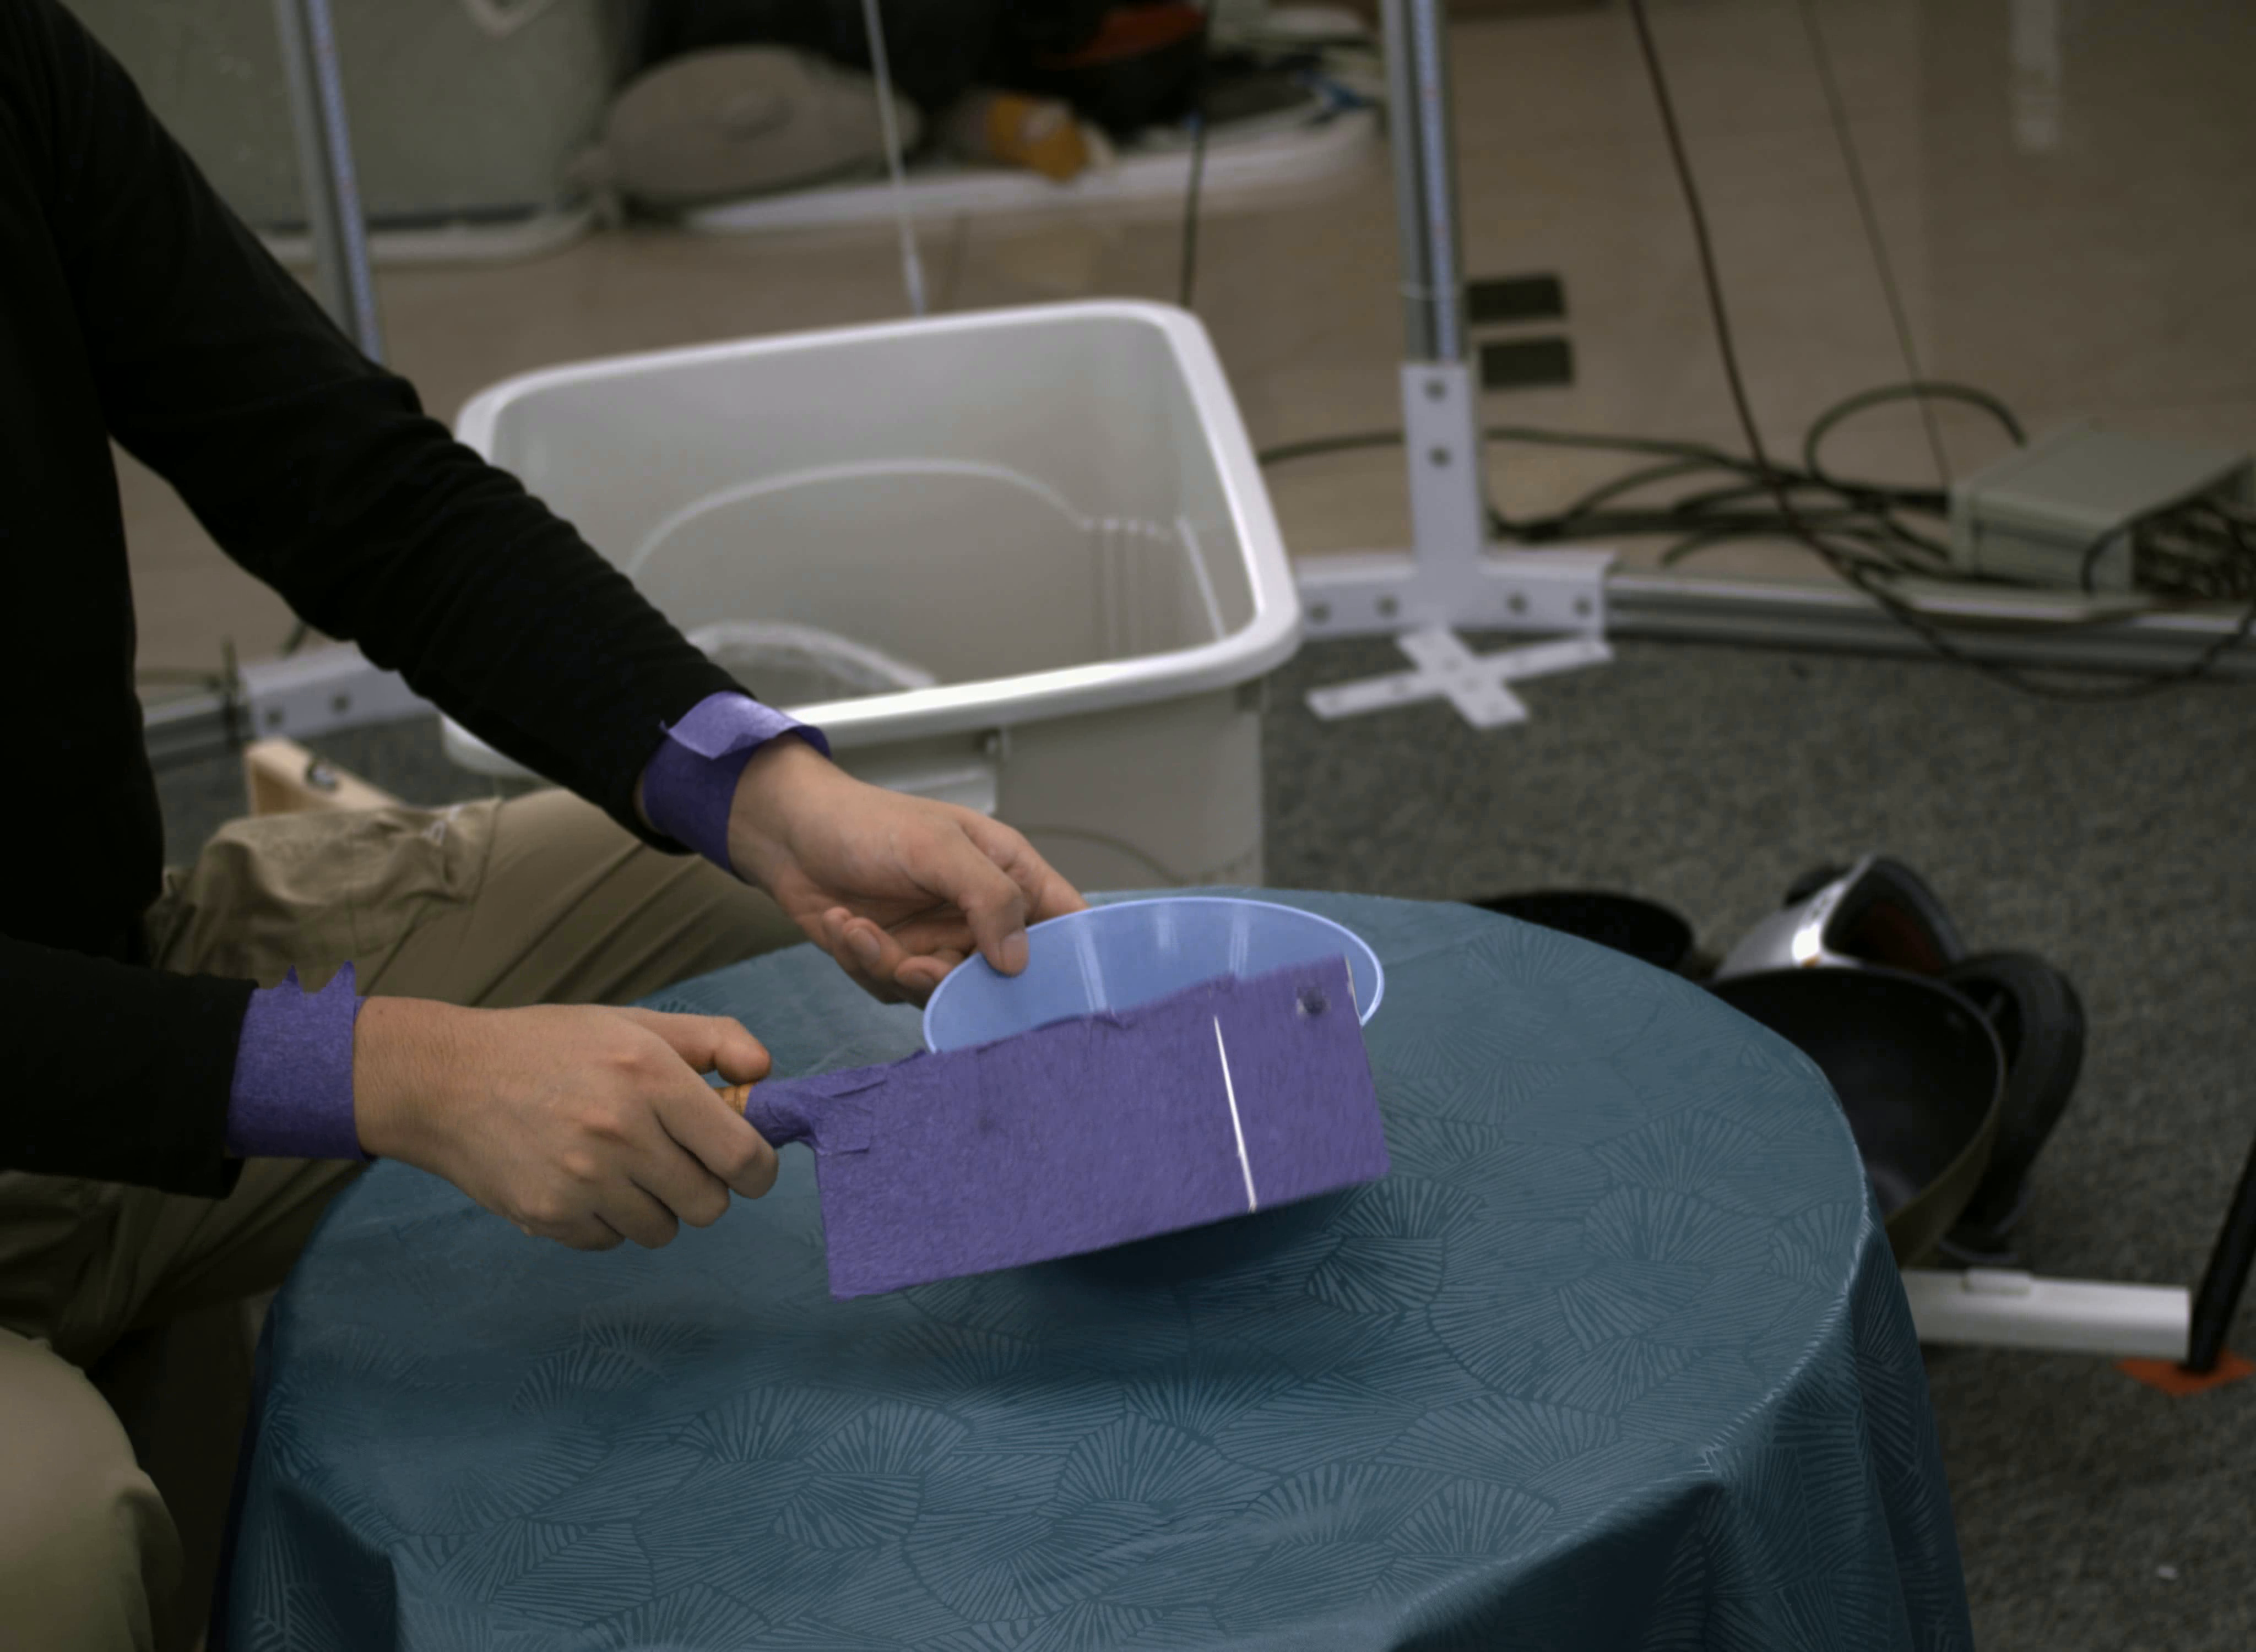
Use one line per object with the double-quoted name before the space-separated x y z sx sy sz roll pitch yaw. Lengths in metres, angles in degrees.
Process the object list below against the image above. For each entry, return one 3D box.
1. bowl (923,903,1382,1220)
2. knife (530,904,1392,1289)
"bowl" 0.012 0.095 2.156 0.176 0.071 0.173 -6 24 3
"knife" -0.062 0.113 2.041 0.315 0.032 0.102 -17 62 10
